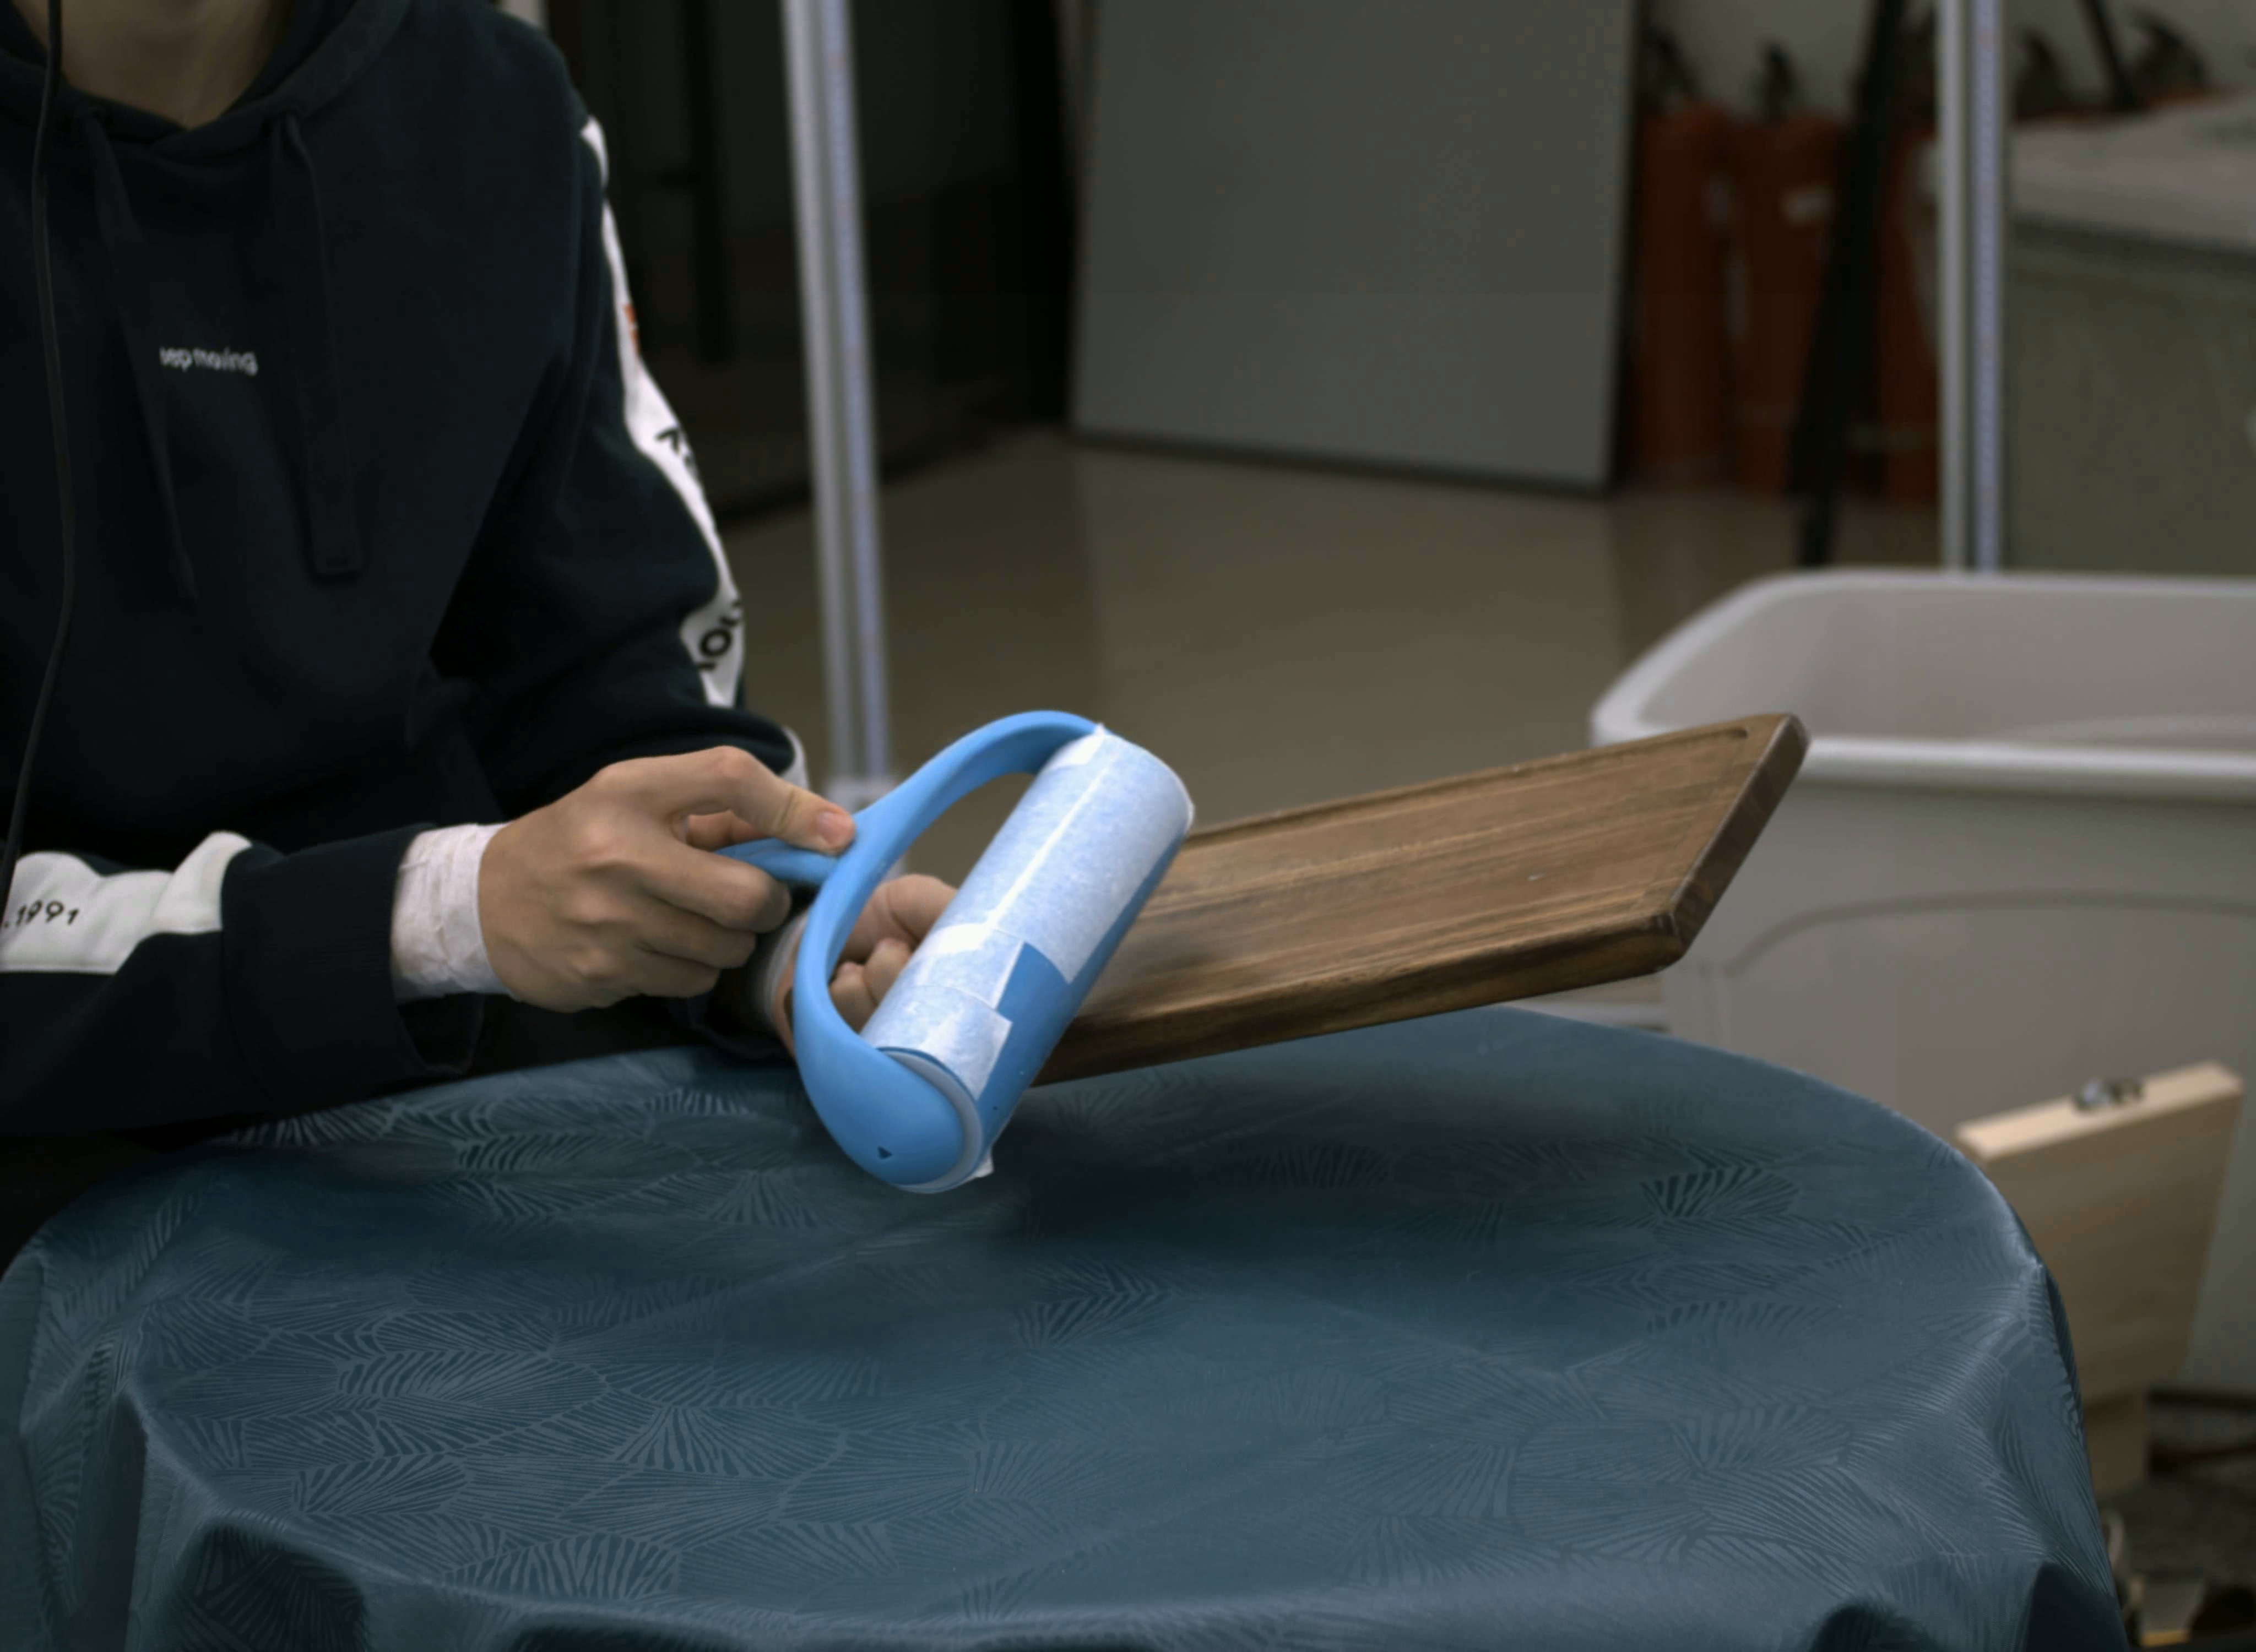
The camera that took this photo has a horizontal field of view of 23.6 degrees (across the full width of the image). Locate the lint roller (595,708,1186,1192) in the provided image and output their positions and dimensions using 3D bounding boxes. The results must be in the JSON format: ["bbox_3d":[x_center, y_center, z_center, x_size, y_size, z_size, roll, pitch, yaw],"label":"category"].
[{"bbox_3d":[-0.092,0.033,1.739,0.180,0.068,0.228,6,34,17],"label":"lint roller"}]

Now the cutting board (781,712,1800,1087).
[{"bbox_3d":[0.042,0.033,1.795,0.352,0.023,0.199,-12,15,24],"label":"cutting board"}]
